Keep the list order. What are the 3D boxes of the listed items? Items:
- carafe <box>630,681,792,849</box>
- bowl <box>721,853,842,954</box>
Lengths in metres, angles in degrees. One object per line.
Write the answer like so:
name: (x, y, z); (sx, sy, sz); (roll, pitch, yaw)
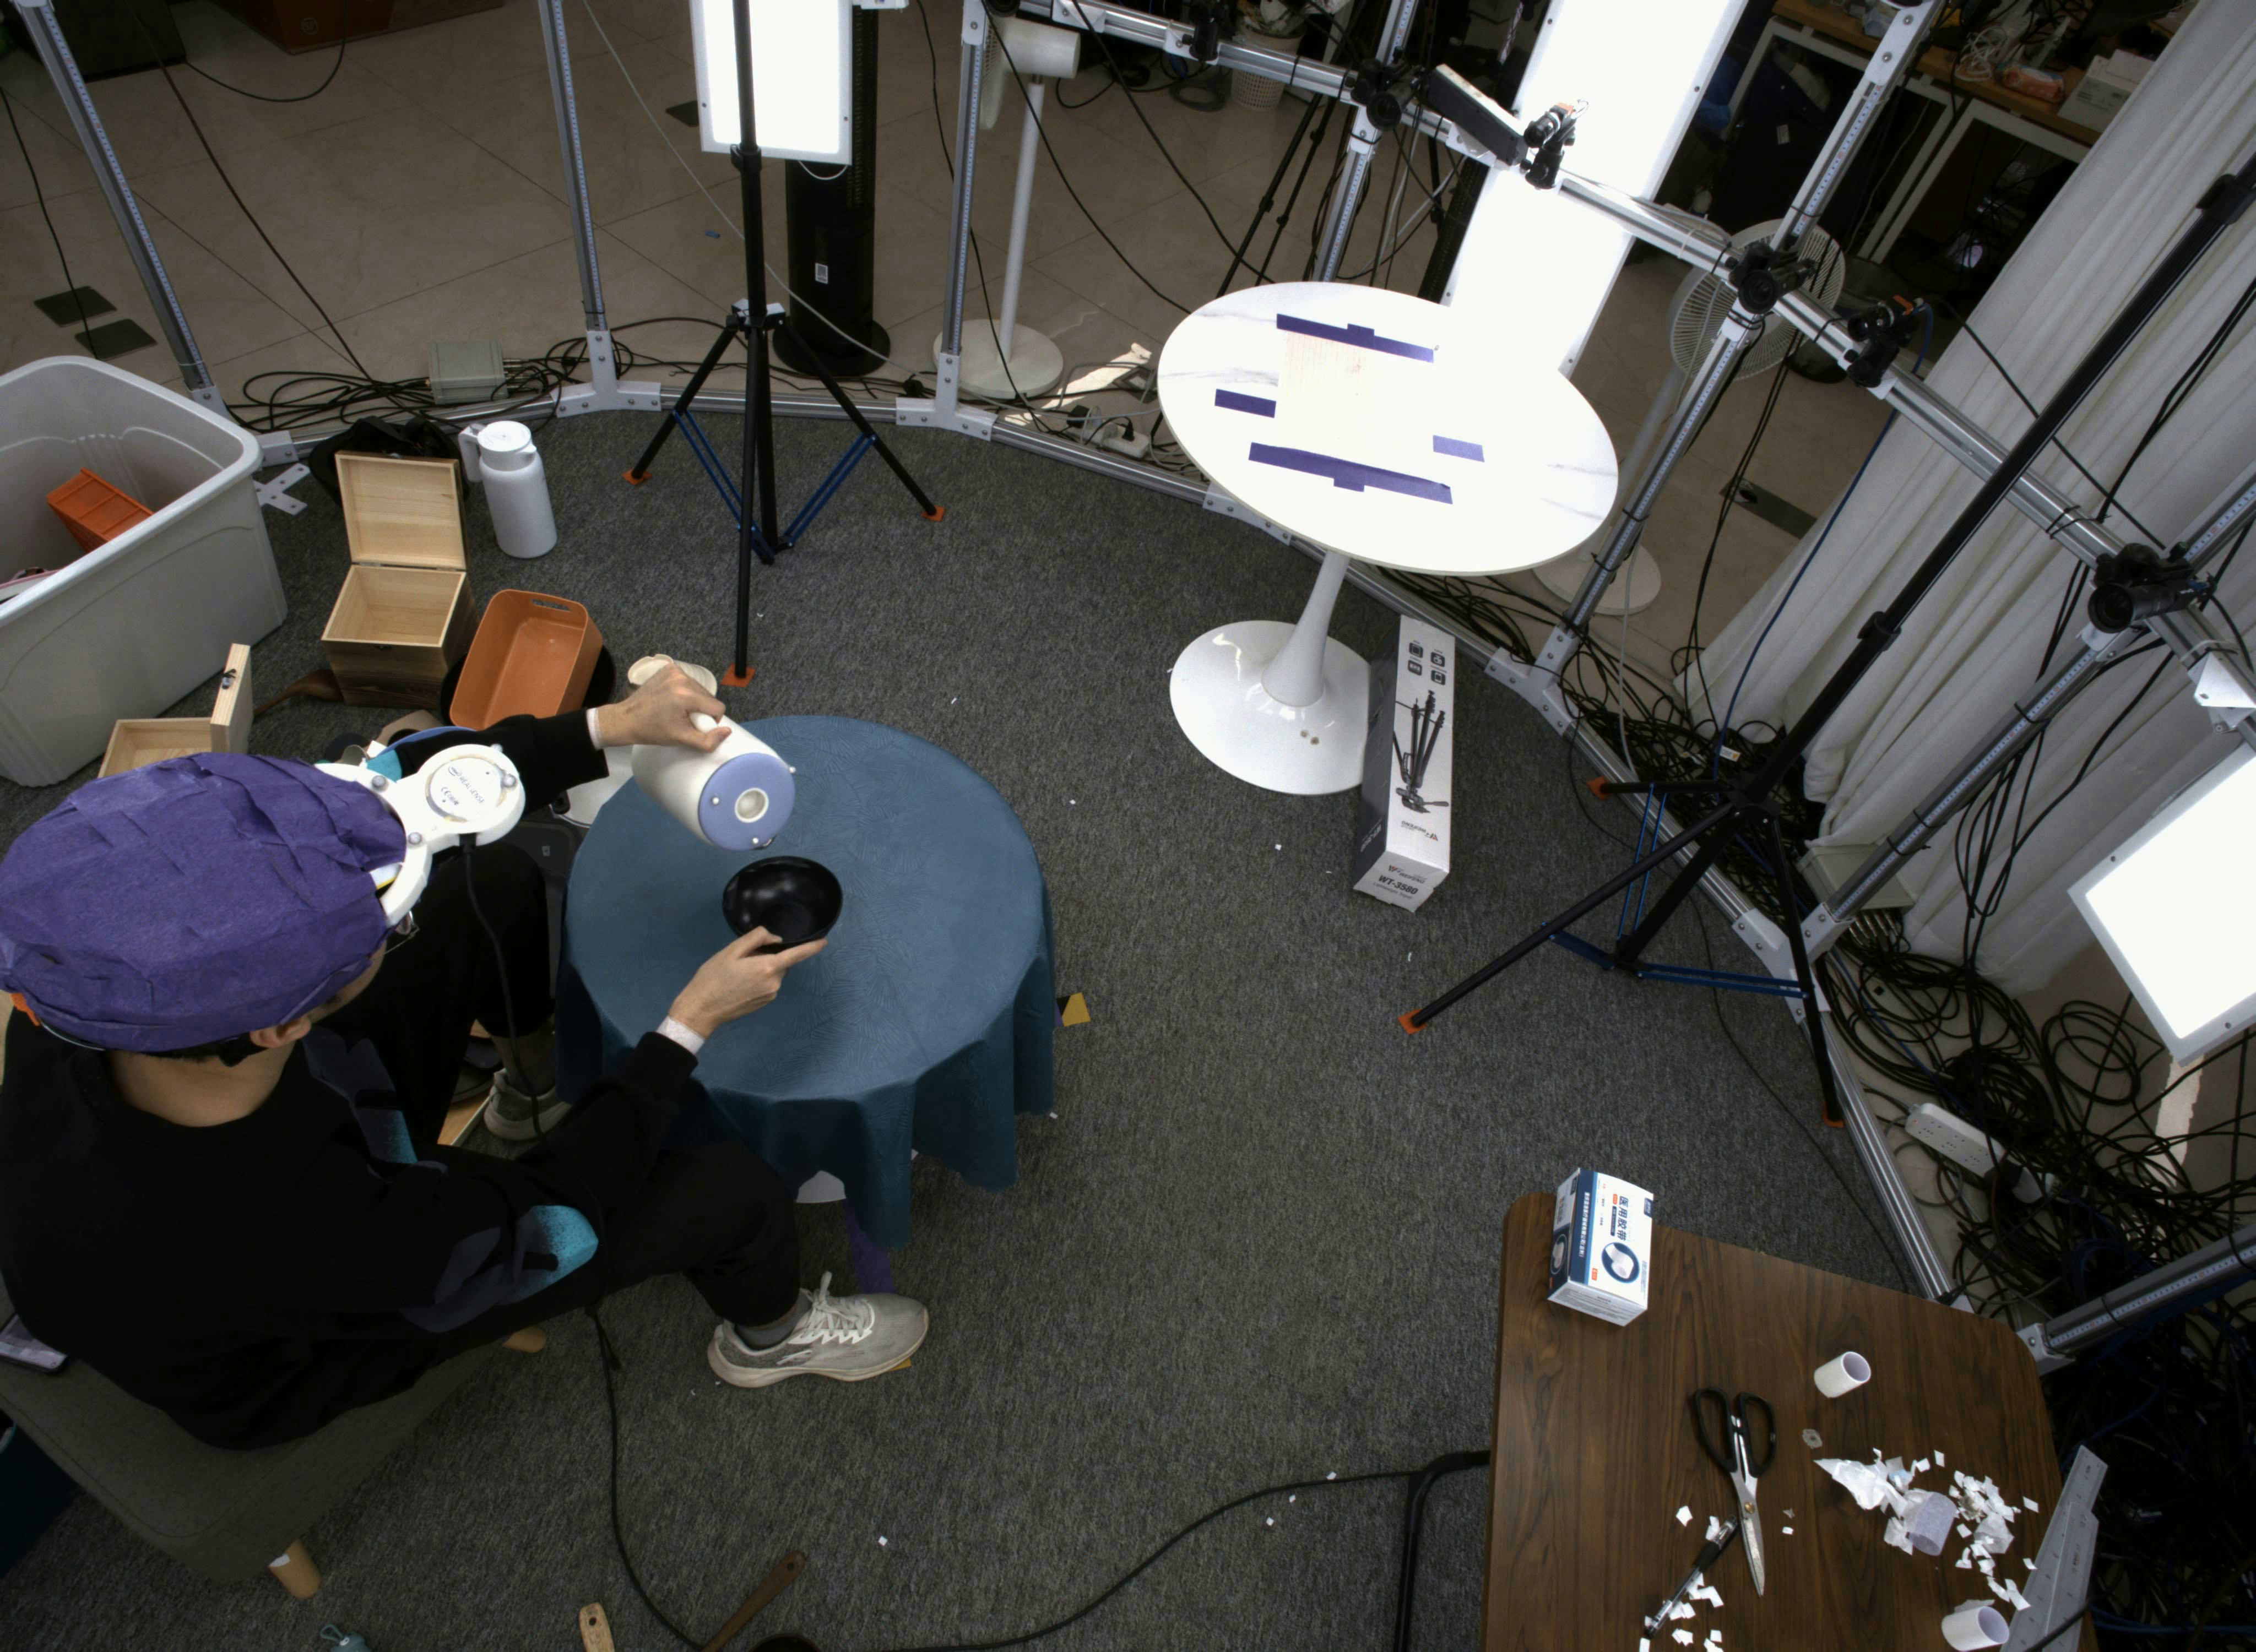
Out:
carafe: (-0.487, -0.080, 1.469); (0.175, 0.198, 0.132); (26, 54, 39)
bowl: (-0.404, 0.097, 1.519); (0.139, 0.051, 0.137); (7, 48, -6)
